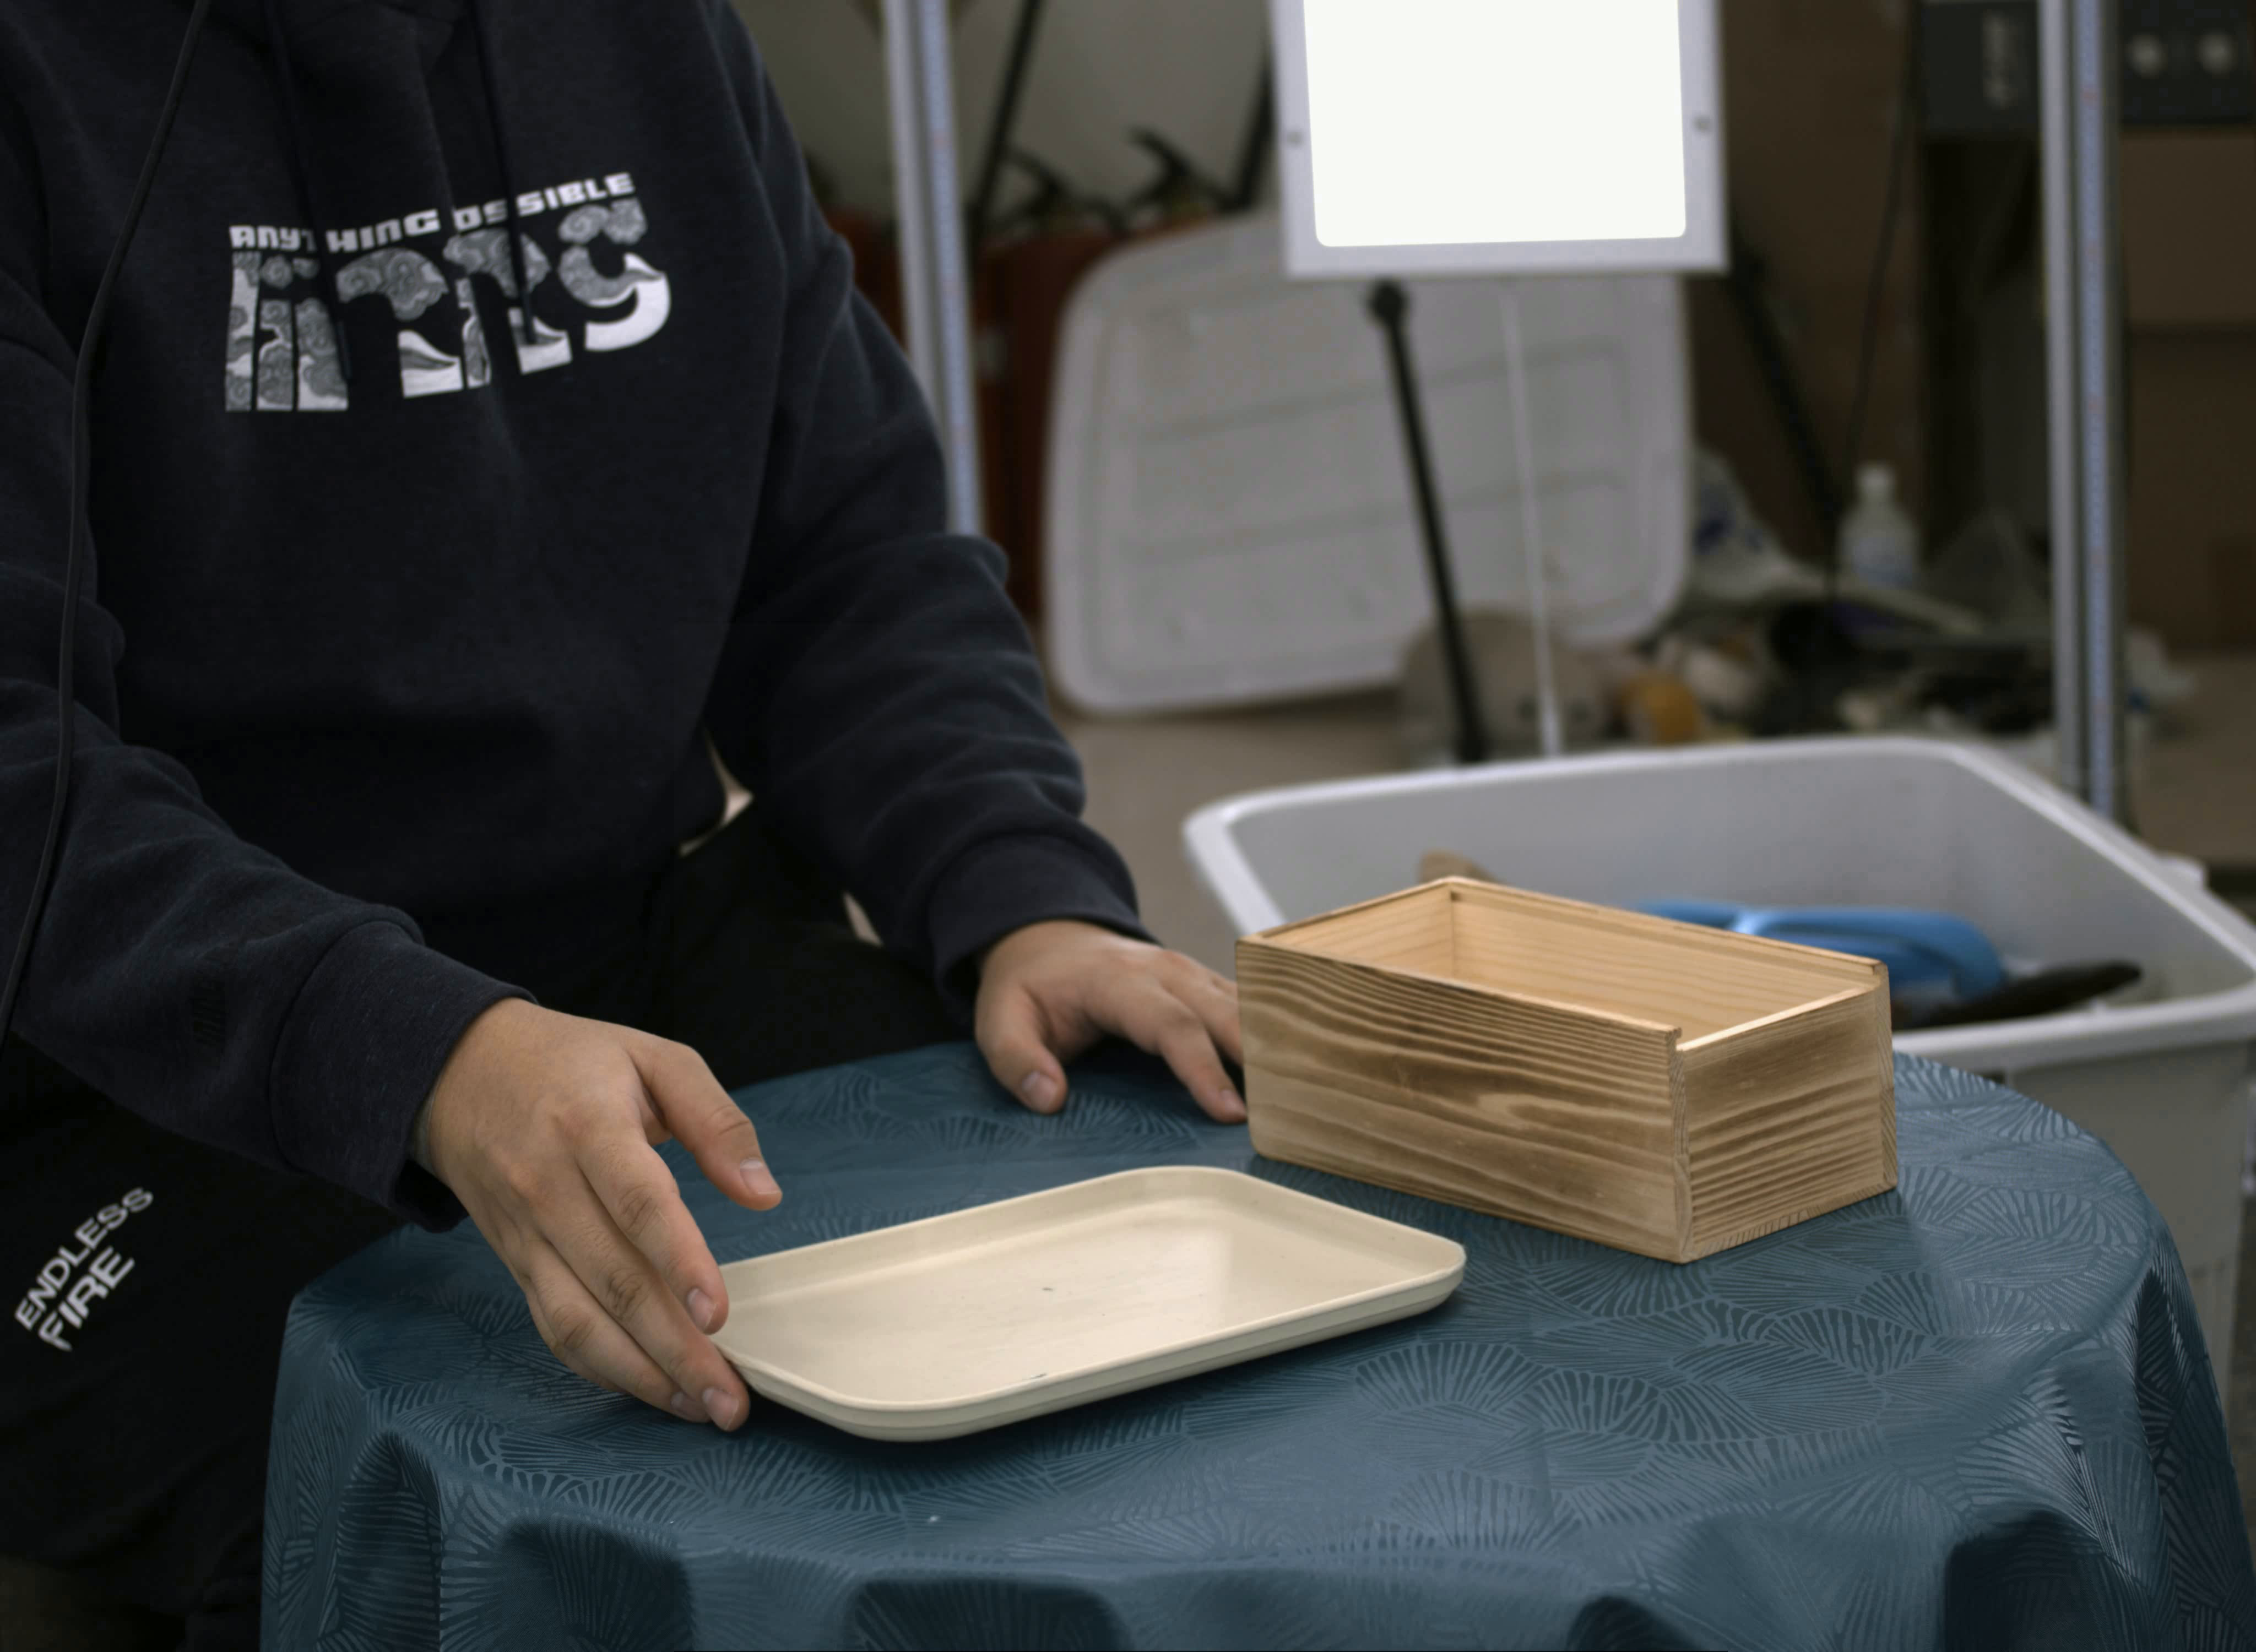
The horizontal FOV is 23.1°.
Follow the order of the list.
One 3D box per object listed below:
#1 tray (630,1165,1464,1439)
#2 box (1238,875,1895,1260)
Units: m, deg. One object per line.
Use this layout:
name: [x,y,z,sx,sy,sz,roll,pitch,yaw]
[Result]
tray: [-0.025,0.150,1.753,0.234,0.017,0.175,-11,14,-33]
box: [0.148,0.079,1.873,0.105,0.080,0.216,-15,16,-37]
